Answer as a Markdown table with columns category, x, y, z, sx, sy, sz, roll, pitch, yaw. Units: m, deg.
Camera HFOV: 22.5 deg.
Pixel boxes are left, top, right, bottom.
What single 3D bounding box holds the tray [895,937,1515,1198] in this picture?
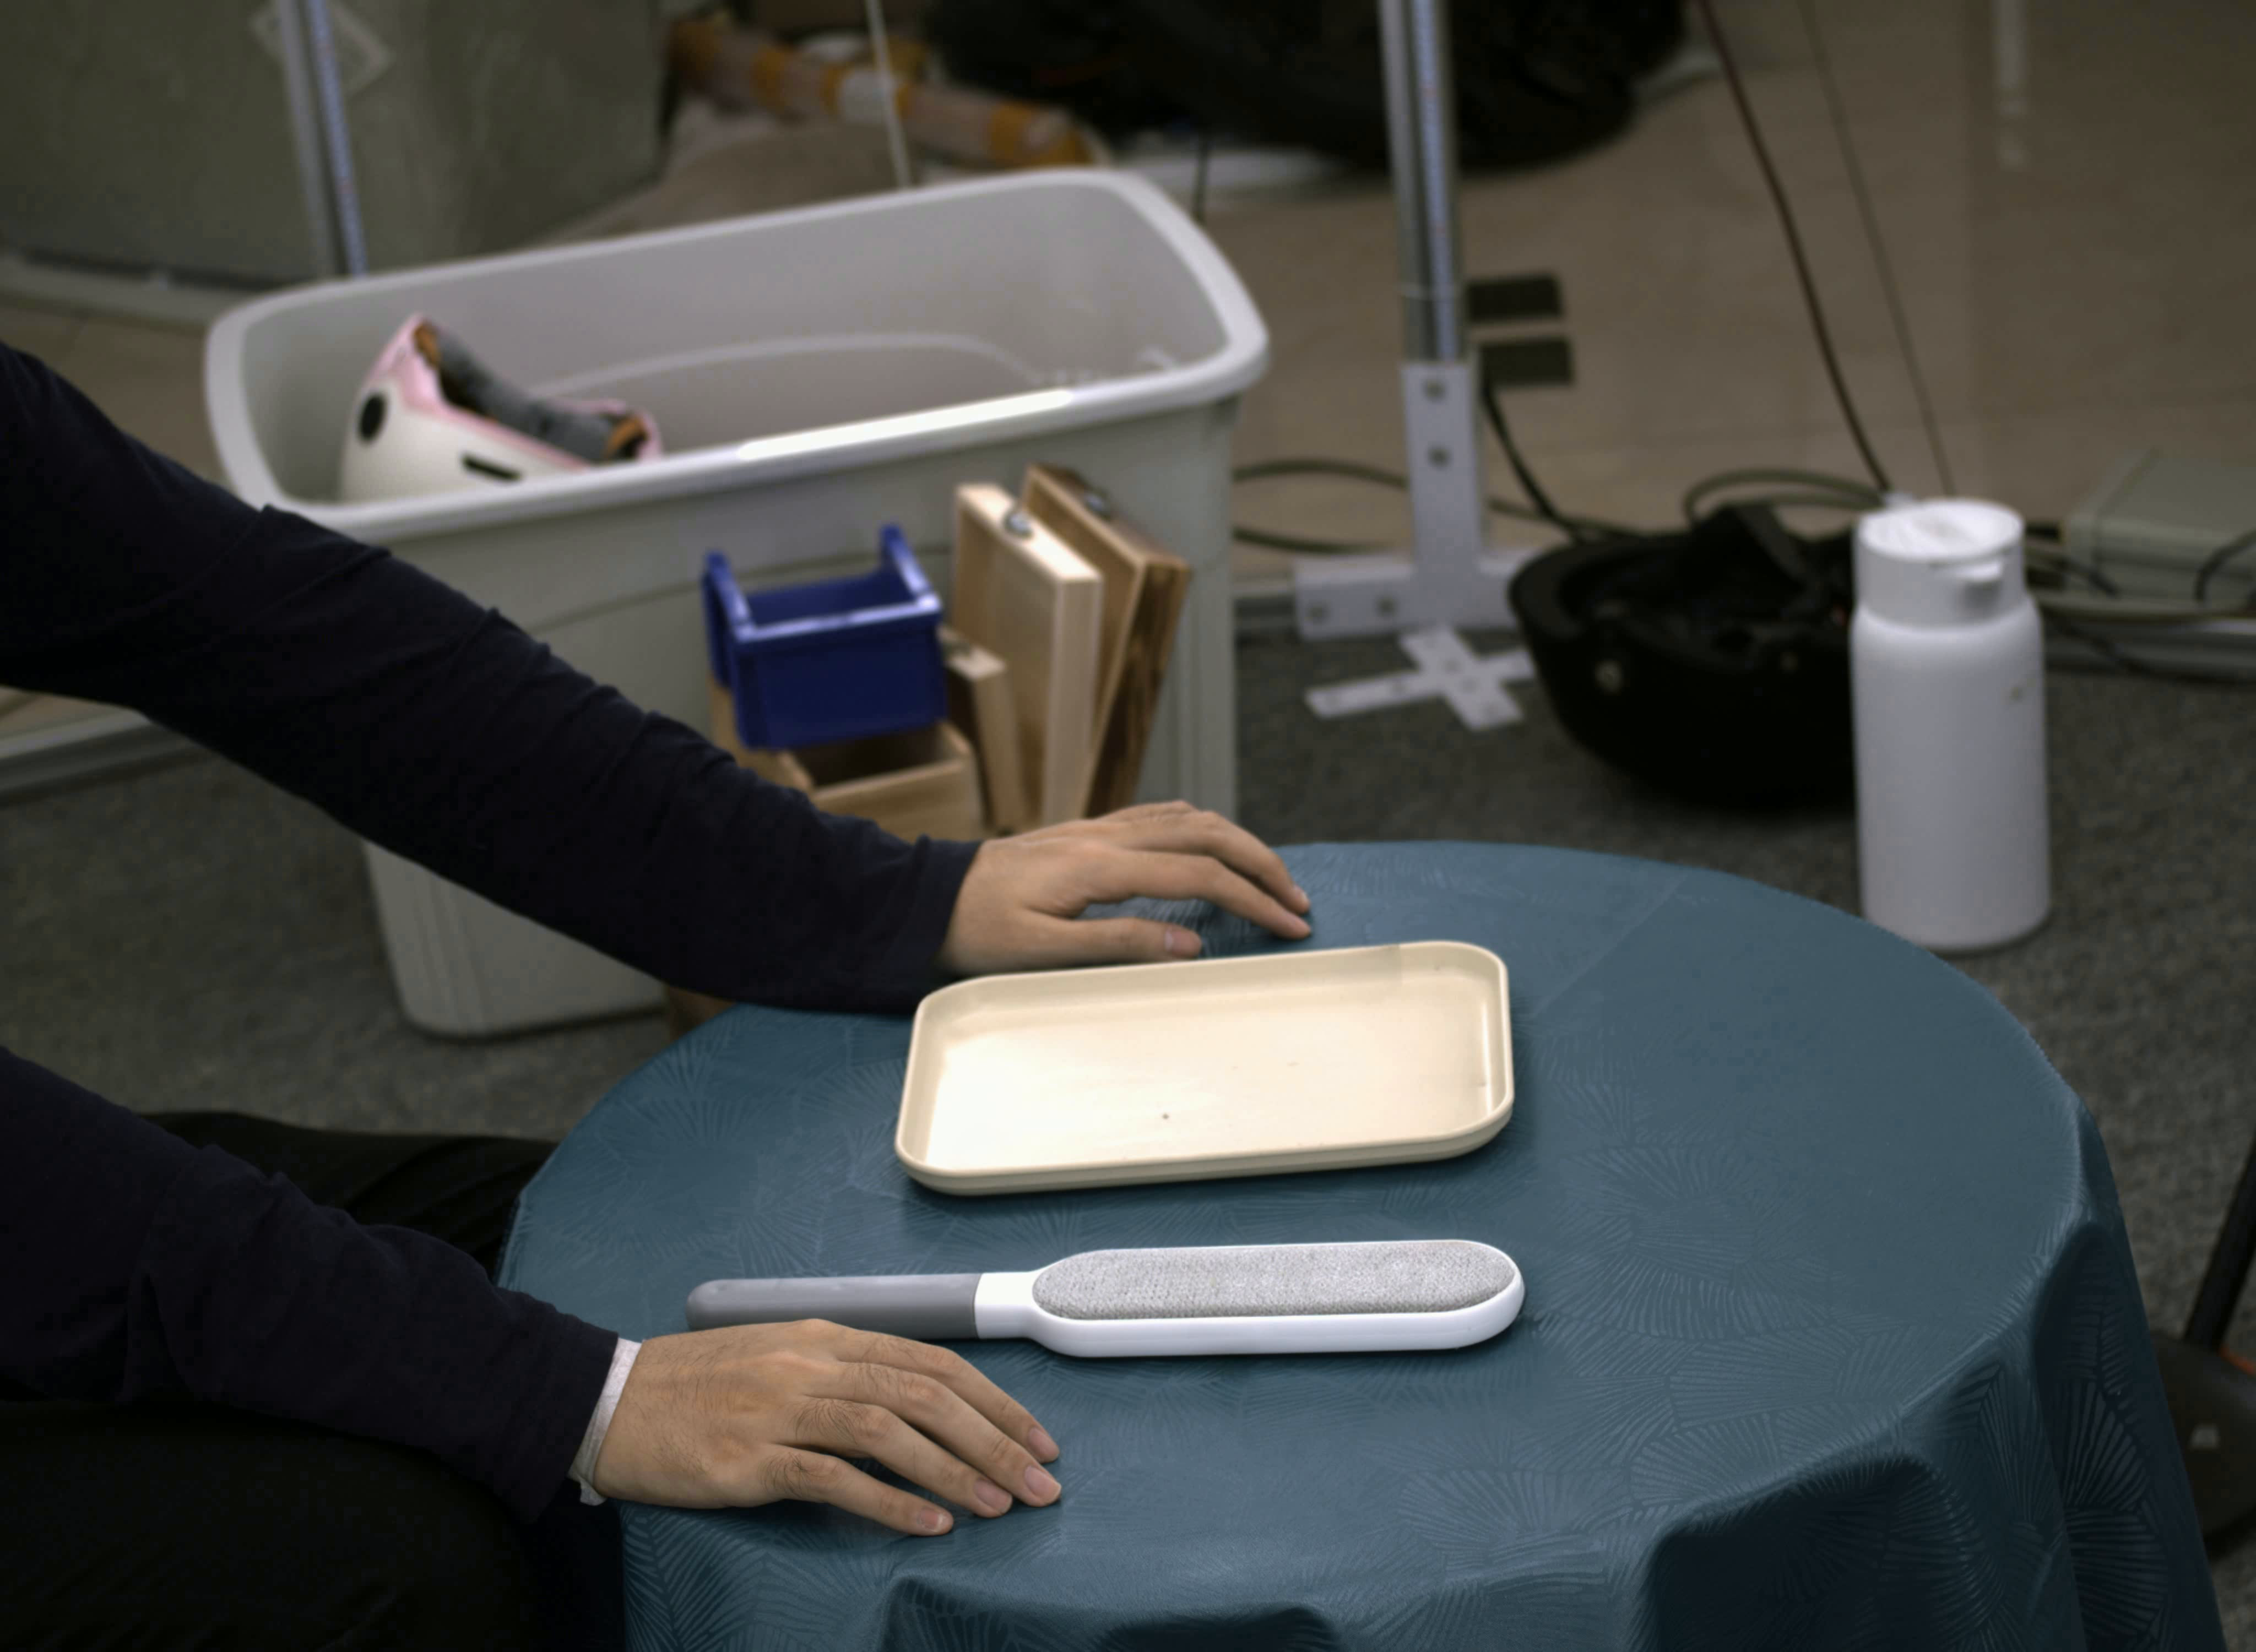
| category | x | y | z | sx | sy | sz | roll | pitch | yaw |
| --- | --- | --- | --- | --- | --- | --- | --- | --- | --- |
| tray | 0.031 | 0.095 | 2.217 | 0.239 | 0.018 | 0.169 | -5 | 25 | 4 |

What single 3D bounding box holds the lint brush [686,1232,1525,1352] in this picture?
| category | x | y | z | sx | sy | sz | roll | pitch | yaw |
| --- | --- | --- | --- | --- | --- | --- | --- | --- | --- |
| lint brush | -0.010 | 0.169 | 2.057 | 0.308 | 0.021 | 0.059 | -2 | 31 | 11 |
